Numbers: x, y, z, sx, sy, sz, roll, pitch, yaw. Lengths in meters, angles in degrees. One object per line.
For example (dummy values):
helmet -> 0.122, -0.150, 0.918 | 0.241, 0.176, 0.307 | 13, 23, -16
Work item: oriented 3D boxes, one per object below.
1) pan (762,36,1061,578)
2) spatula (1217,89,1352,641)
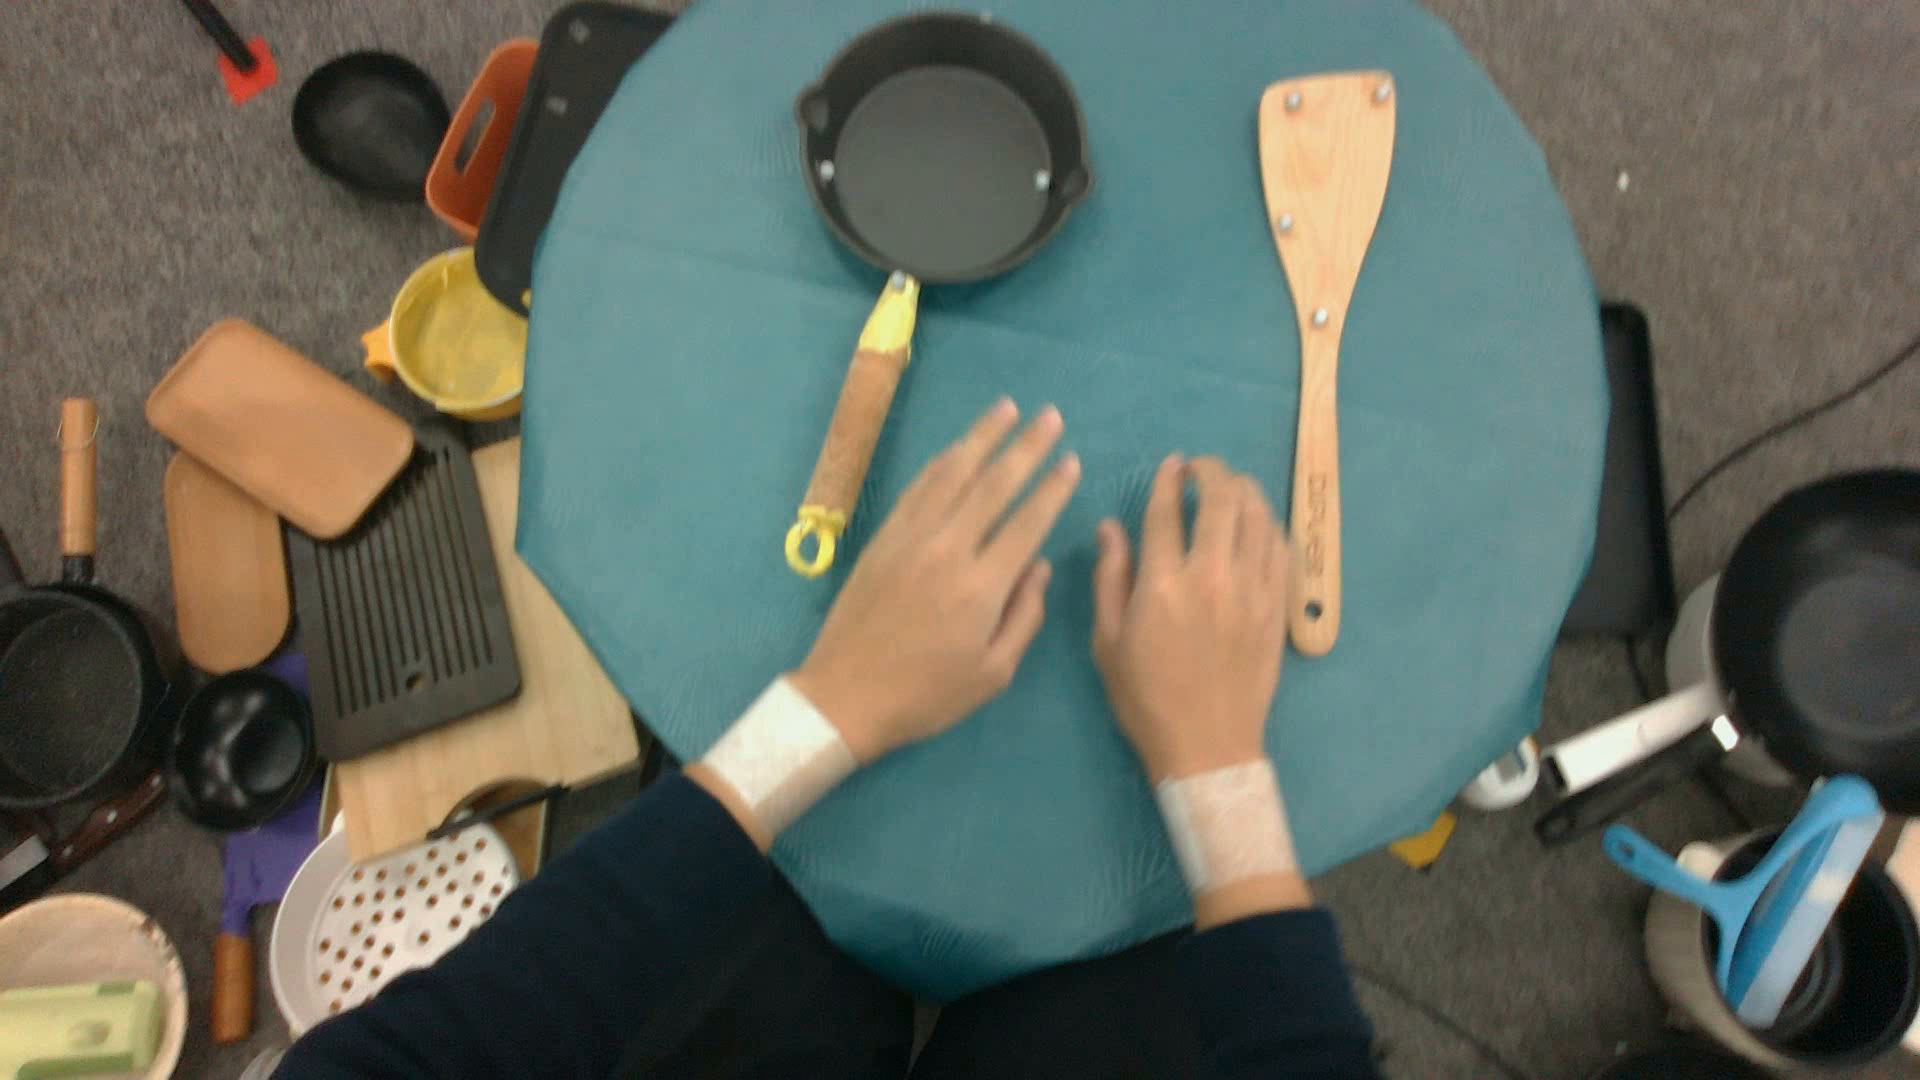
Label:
pan -> -0.050, -0.129, 0.743 | 0.169, 0.049, 0.325 | 16, 73, 1
spatula -> 0.183, -0.106, 0.768 | 0.080, 0.016, 0.328 | 3, 75, -2
